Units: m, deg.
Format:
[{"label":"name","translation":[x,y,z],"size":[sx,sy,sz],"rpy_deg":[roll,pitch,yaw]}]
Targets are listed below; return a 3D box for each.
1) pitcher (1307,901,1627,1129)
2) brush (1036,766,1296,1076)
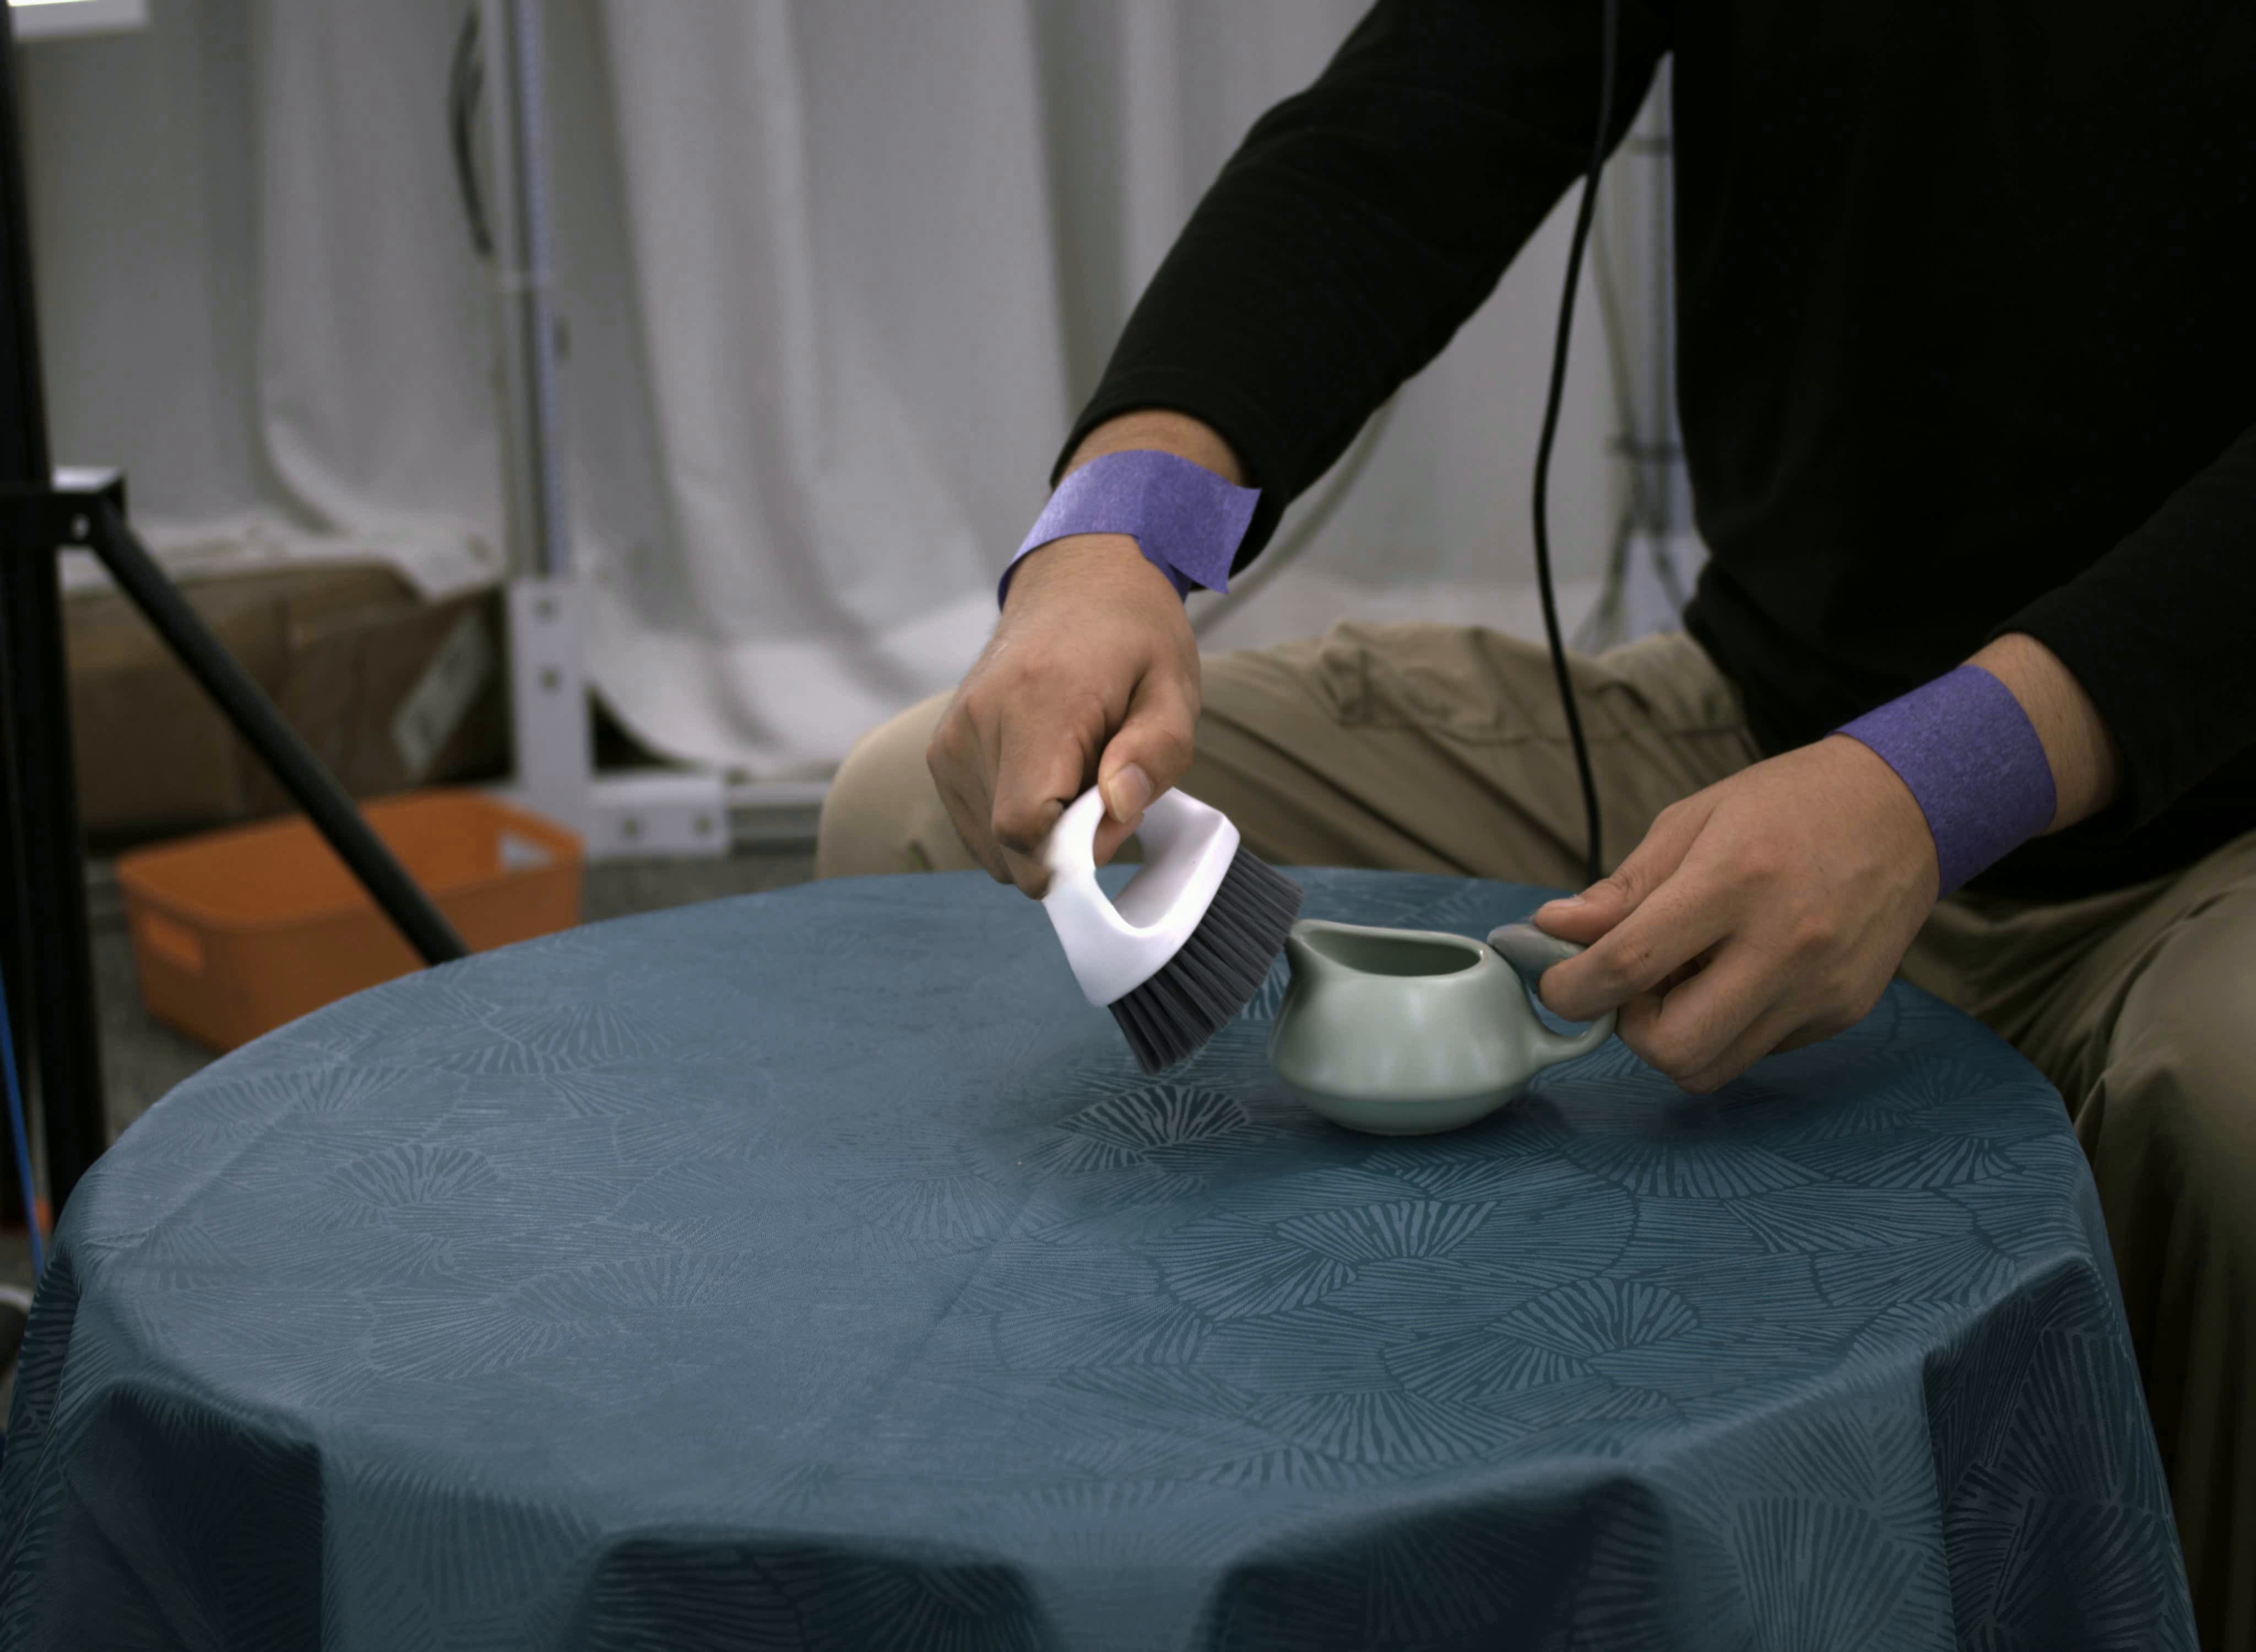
[{"label":"pitcher","translation":[0.105,0.058,1.601],"size":[0.110,0.061,0.084],"rpy_deg":[-11,-3,36]},{"label":"brush","translation":[0.005,0.021,1.603],"size":[0.051,0.072,0.099],"rpy_deg":[-35,12,30]}]
